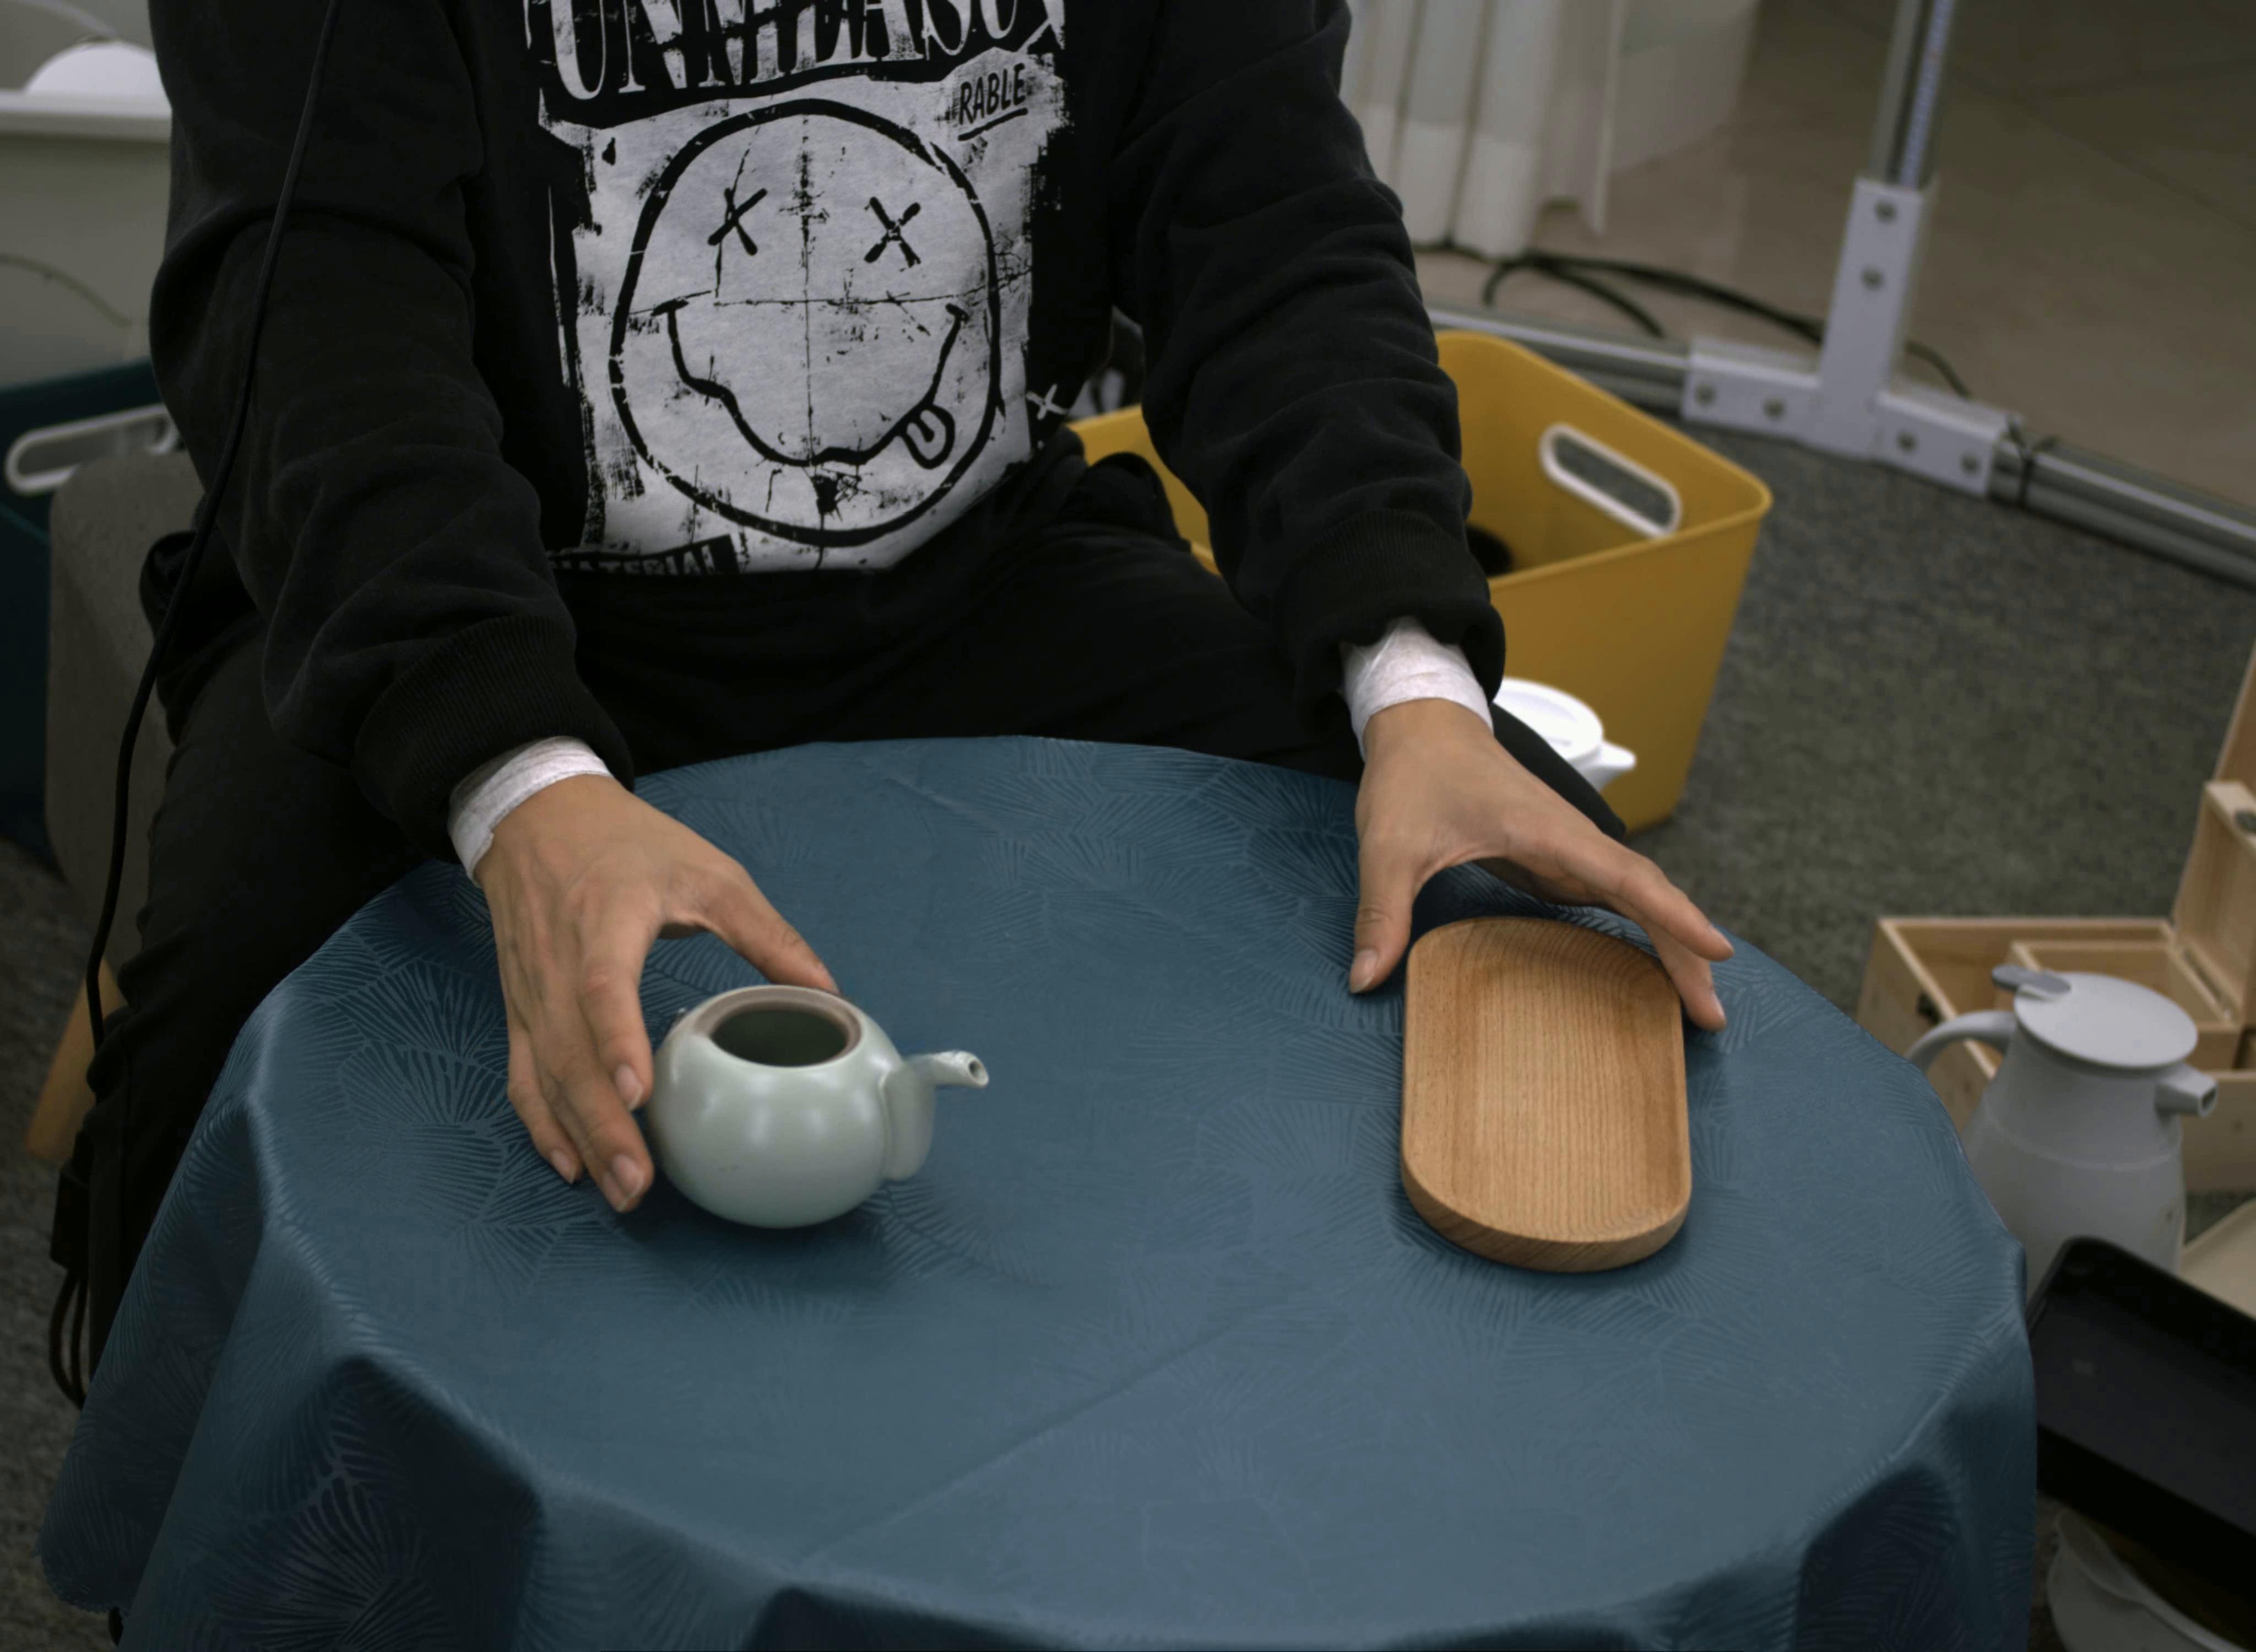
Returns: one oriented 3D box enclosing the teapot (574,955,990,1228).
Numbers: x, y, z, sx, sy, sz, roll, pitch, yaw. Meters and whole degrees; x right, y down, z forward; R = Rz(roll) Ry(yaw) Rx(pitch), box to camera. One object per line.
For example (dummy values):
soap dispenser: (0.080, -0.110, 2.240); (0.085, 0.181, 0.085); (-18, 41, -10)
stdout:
teapot: (-0.117, 0.091, 1.763); (0.144, 0.074, 0.088); (16, 28, 15)

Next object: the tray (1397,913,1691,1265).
tray: (0.145, 0.091, 1.885); (0.101, 0.020, 0.232); (8, 25, -1)
